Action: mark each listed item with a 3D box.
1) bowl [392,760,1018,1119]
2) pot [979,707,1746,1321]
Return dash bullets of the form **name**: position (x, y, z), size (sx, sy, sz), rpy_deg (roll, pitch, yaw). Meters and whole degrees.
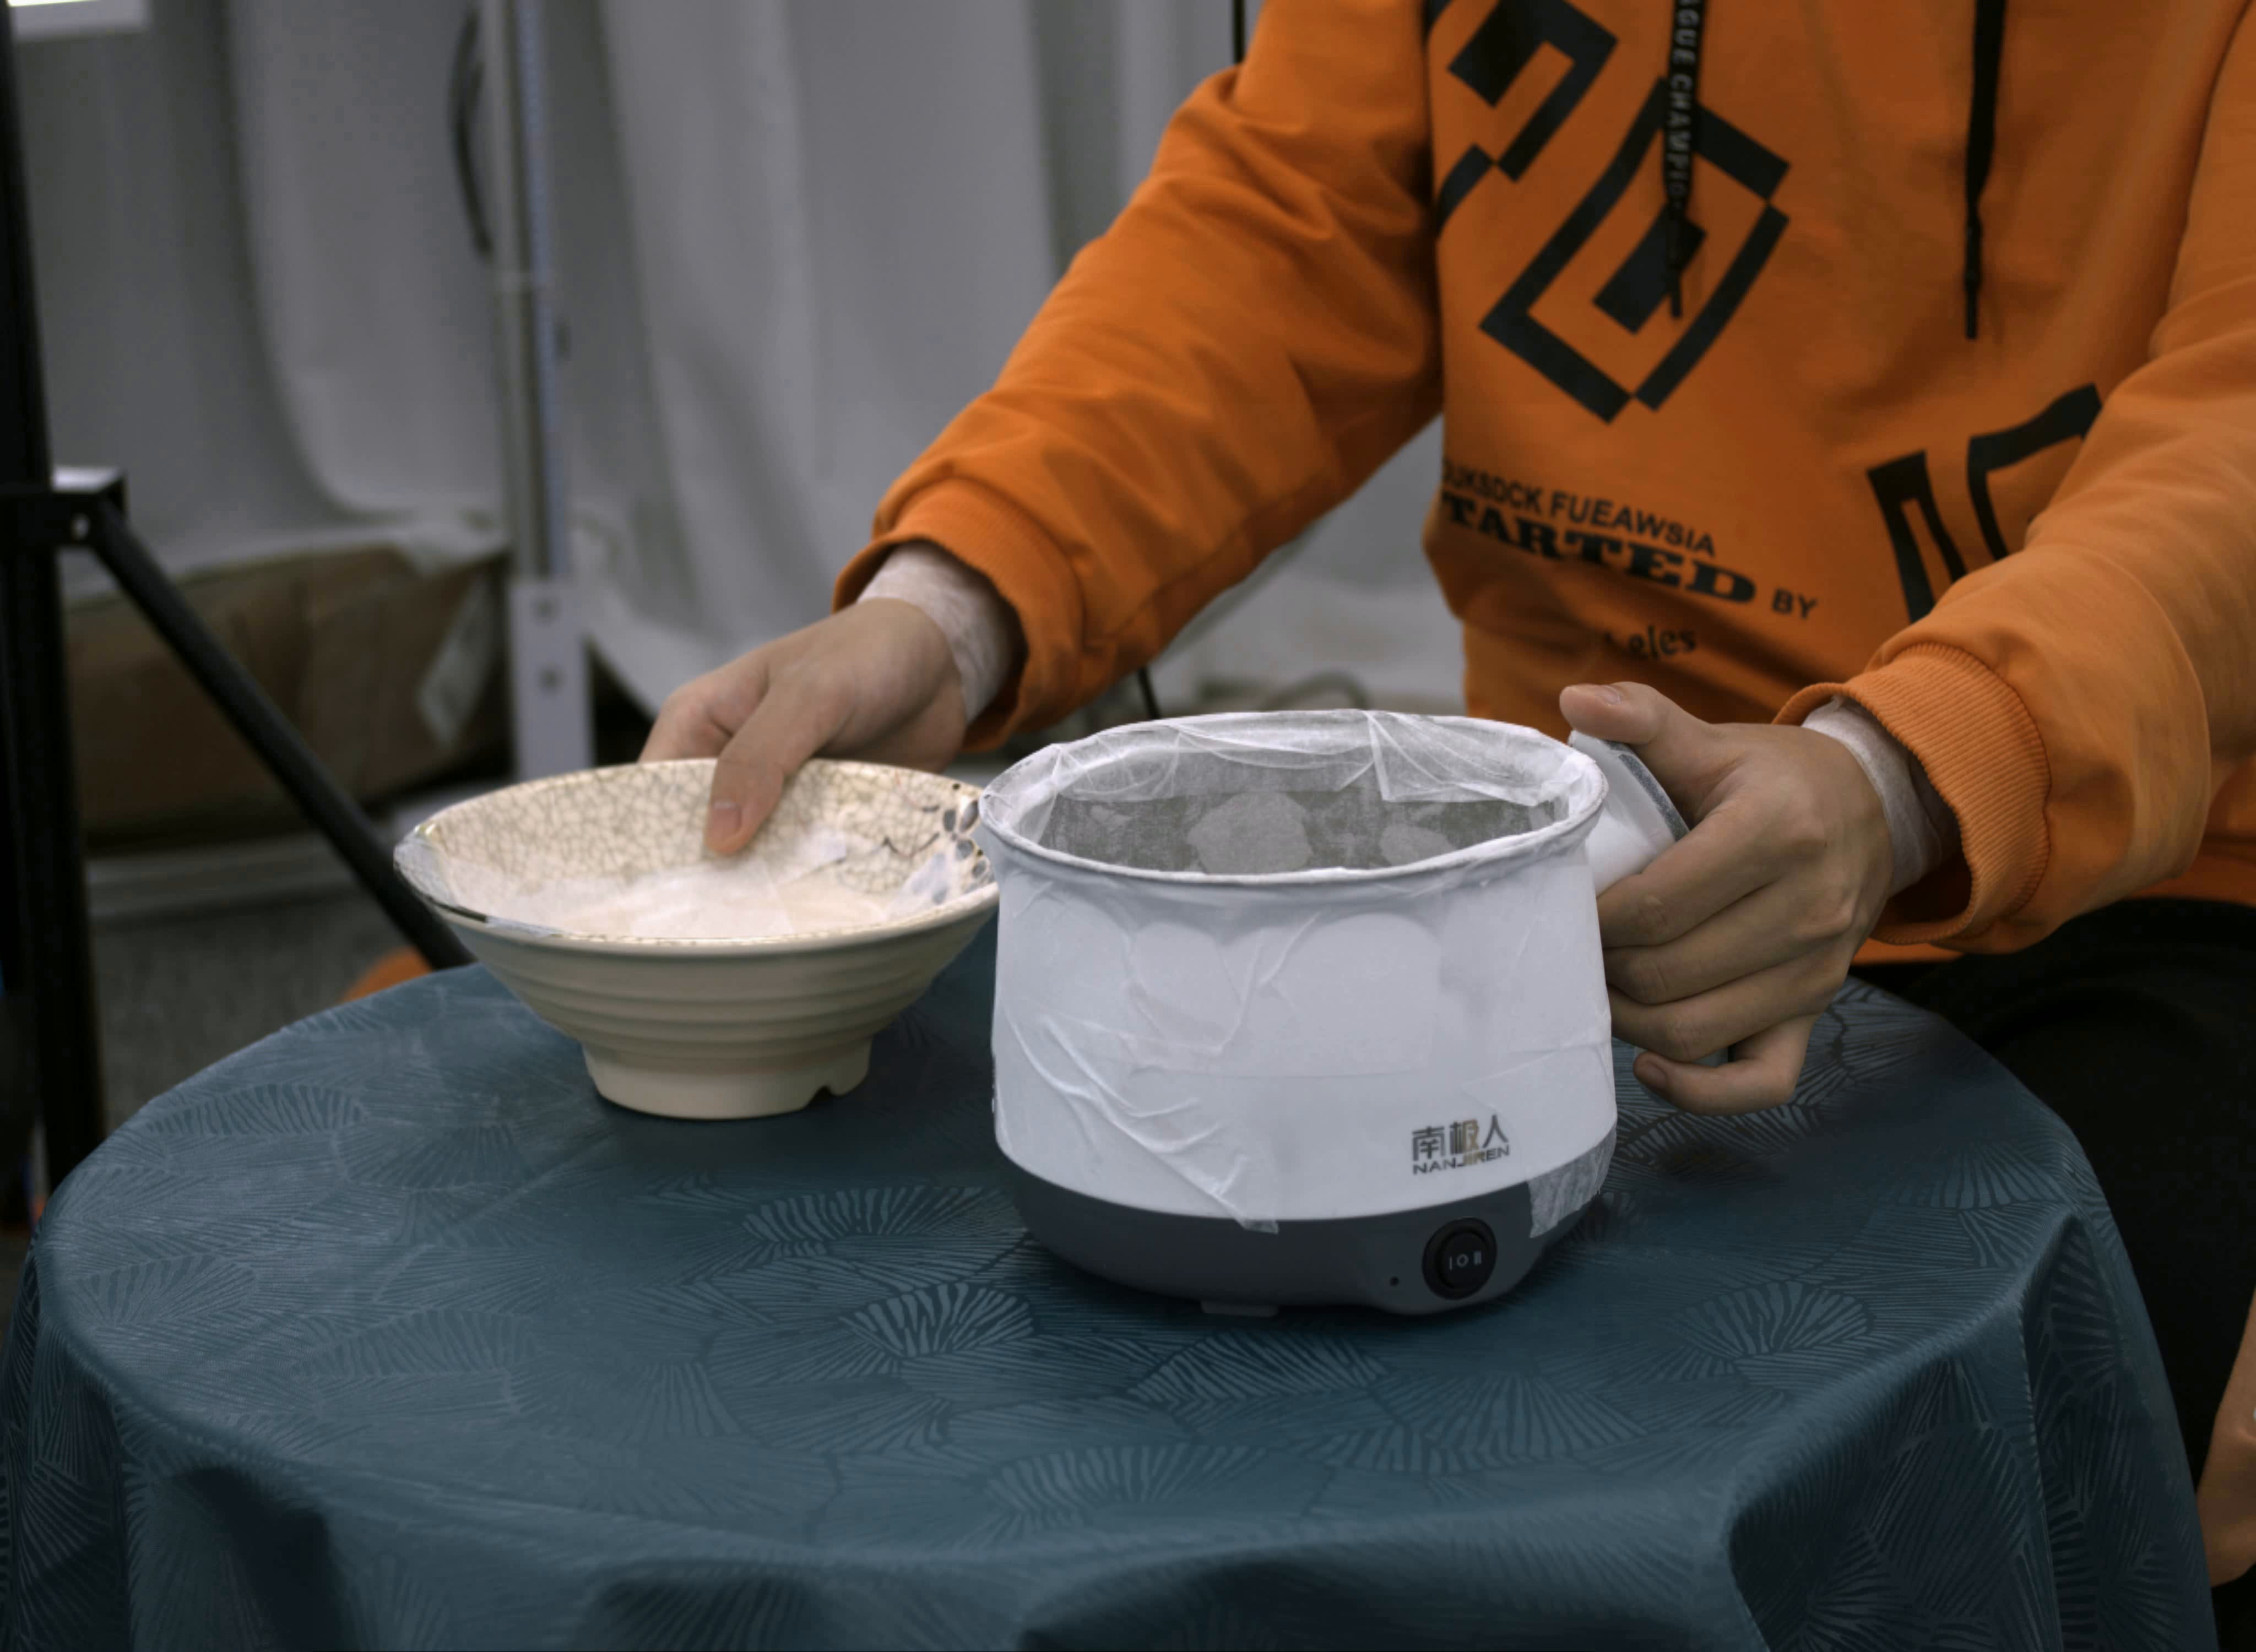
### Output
- **bowl**: position (-0.127, 0.042, 1.668), size (0.203, 0.078, 0.205), rpy_deg (0, 15, -1)
- **pot**: position (0.073, 0.047, 1.511), size (0.229, 0.136, 0.182), rpy_deg (-10, 18, -26)
